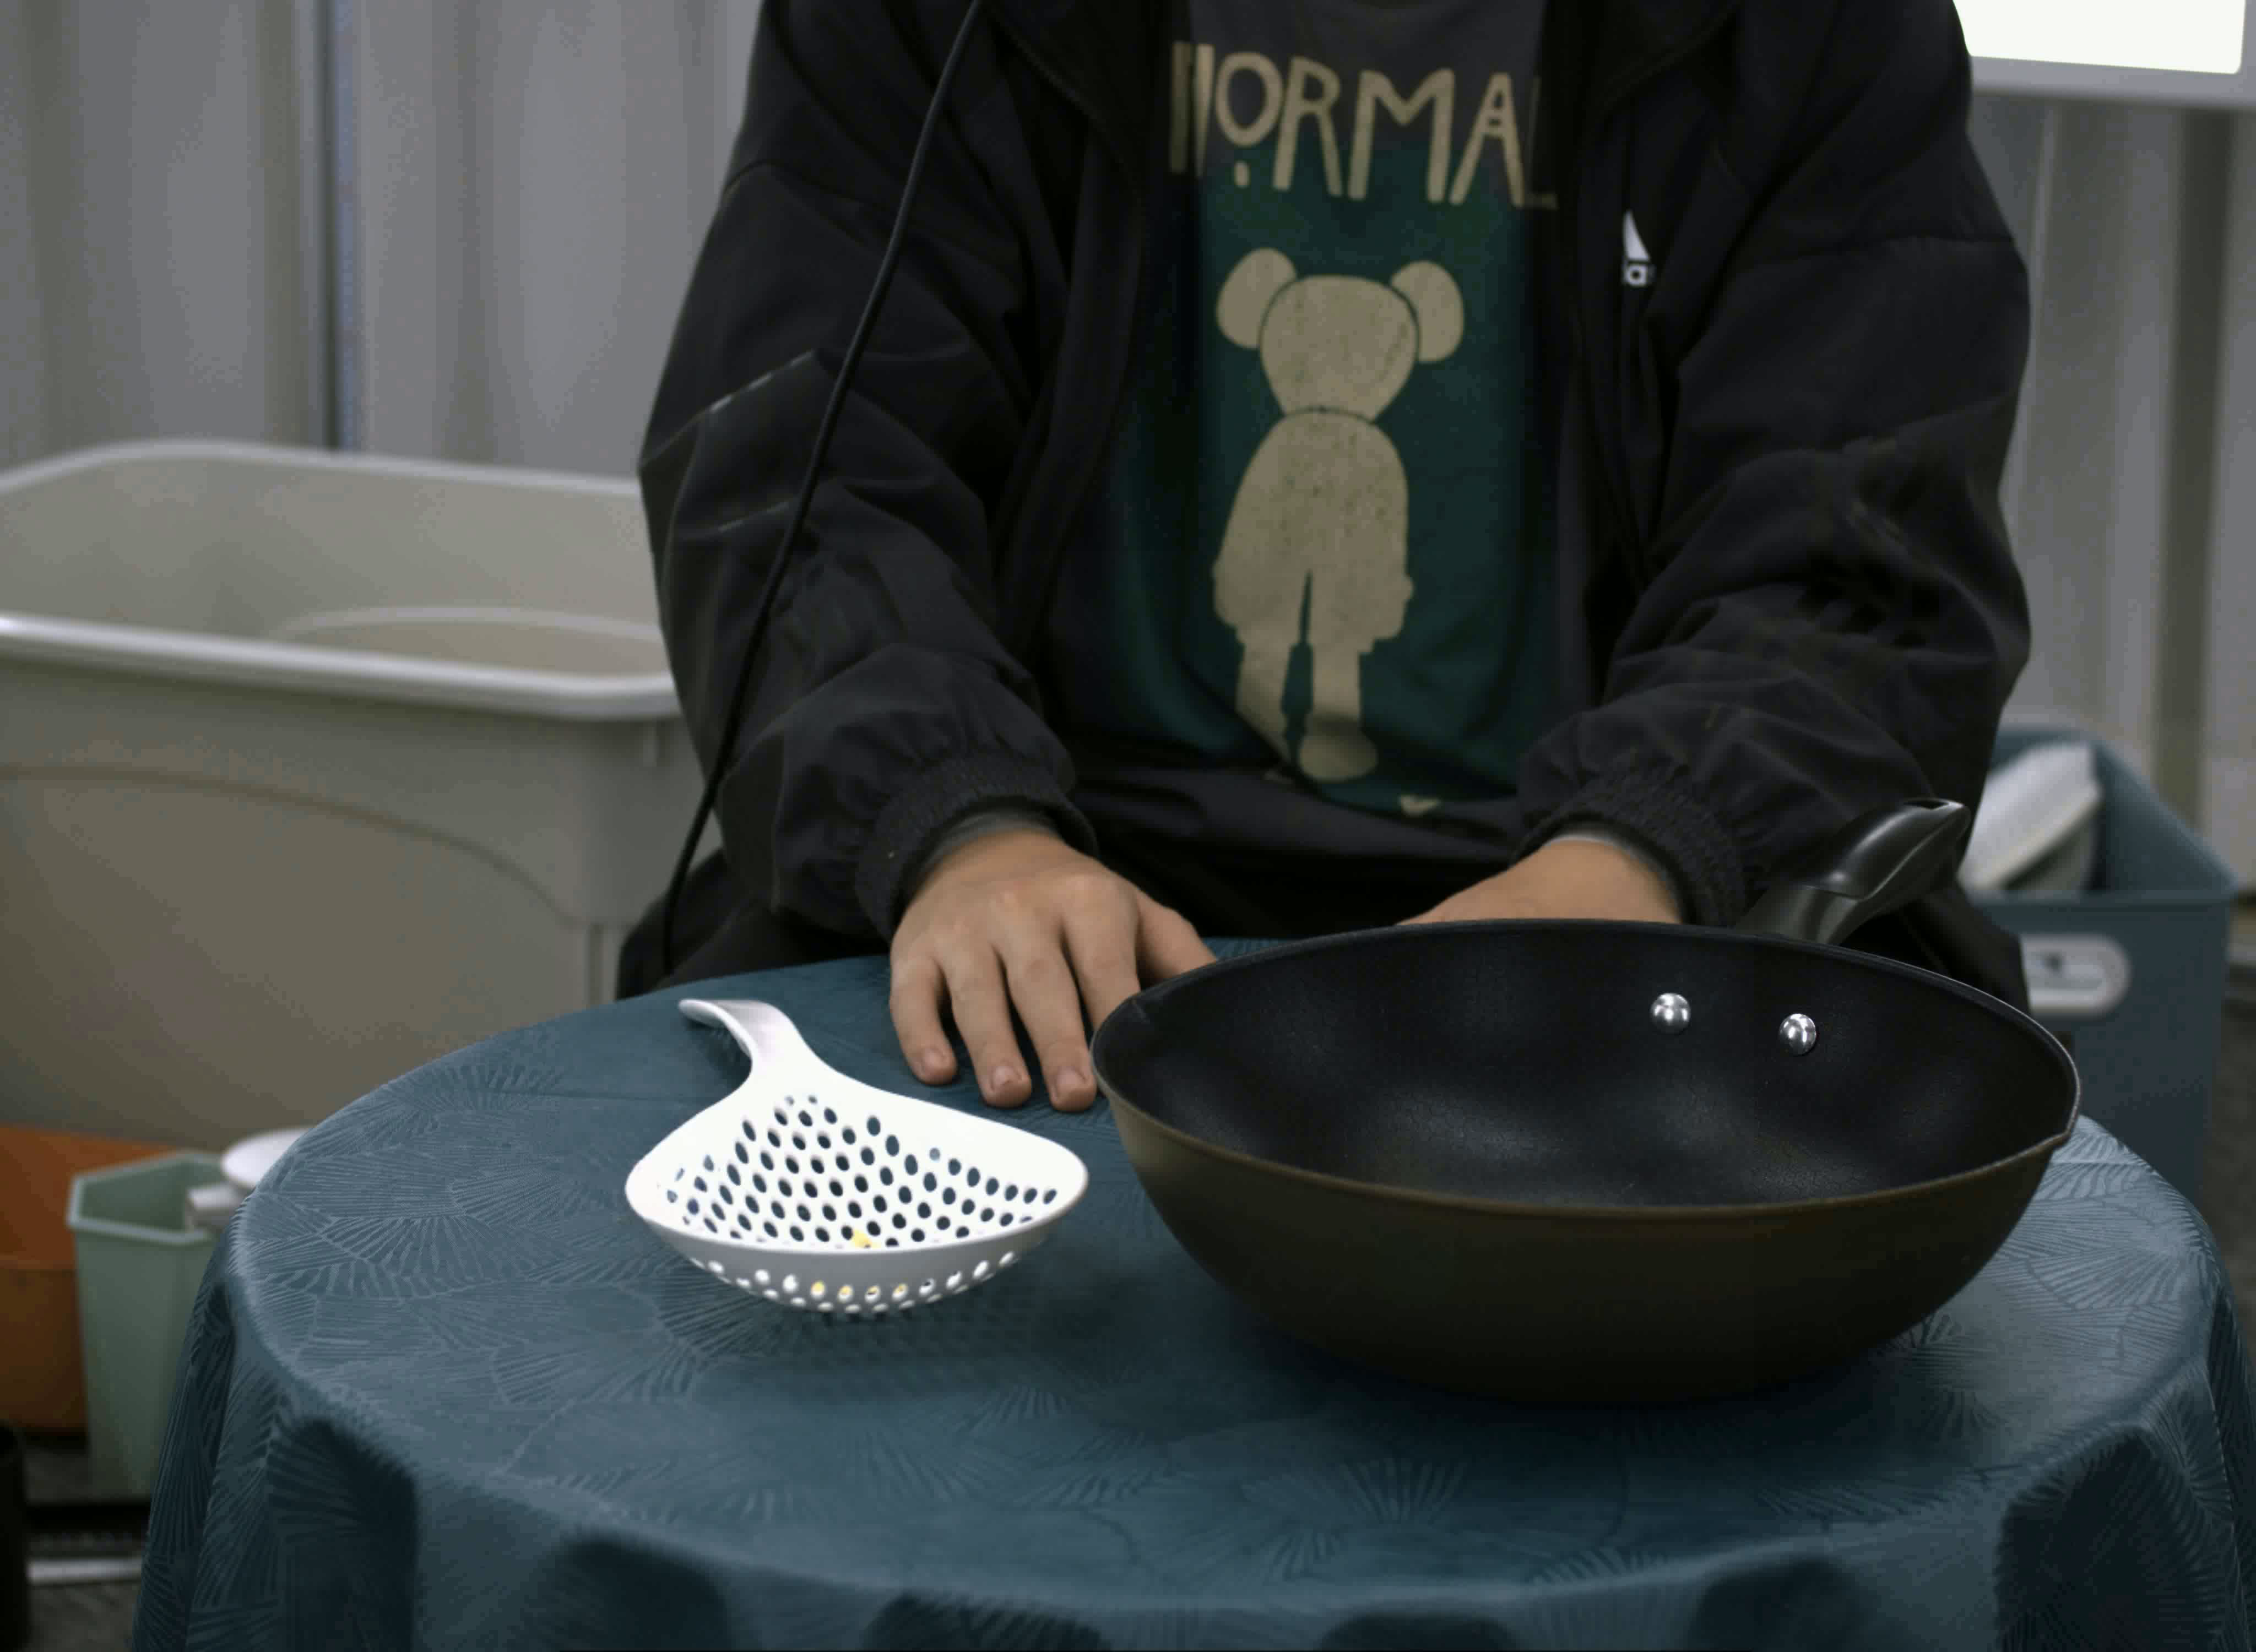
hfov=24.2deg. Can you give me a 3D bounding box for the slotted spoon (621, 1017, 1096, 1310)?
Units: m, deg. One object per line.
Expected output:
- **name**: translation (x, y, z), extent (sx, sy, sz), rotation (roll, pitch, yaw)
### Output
- **slotted spoon**: translation (-0.102, 0.090, 1.626), extent (0.137, 0.051, 0.344), rotation (-5, 16, -12)

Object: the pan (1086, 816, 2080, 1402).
- **pan**: translation (0.169, 0.081, 1.590), extent (0.285, 0.087, 0.464), rotation (8, 16, 25)
